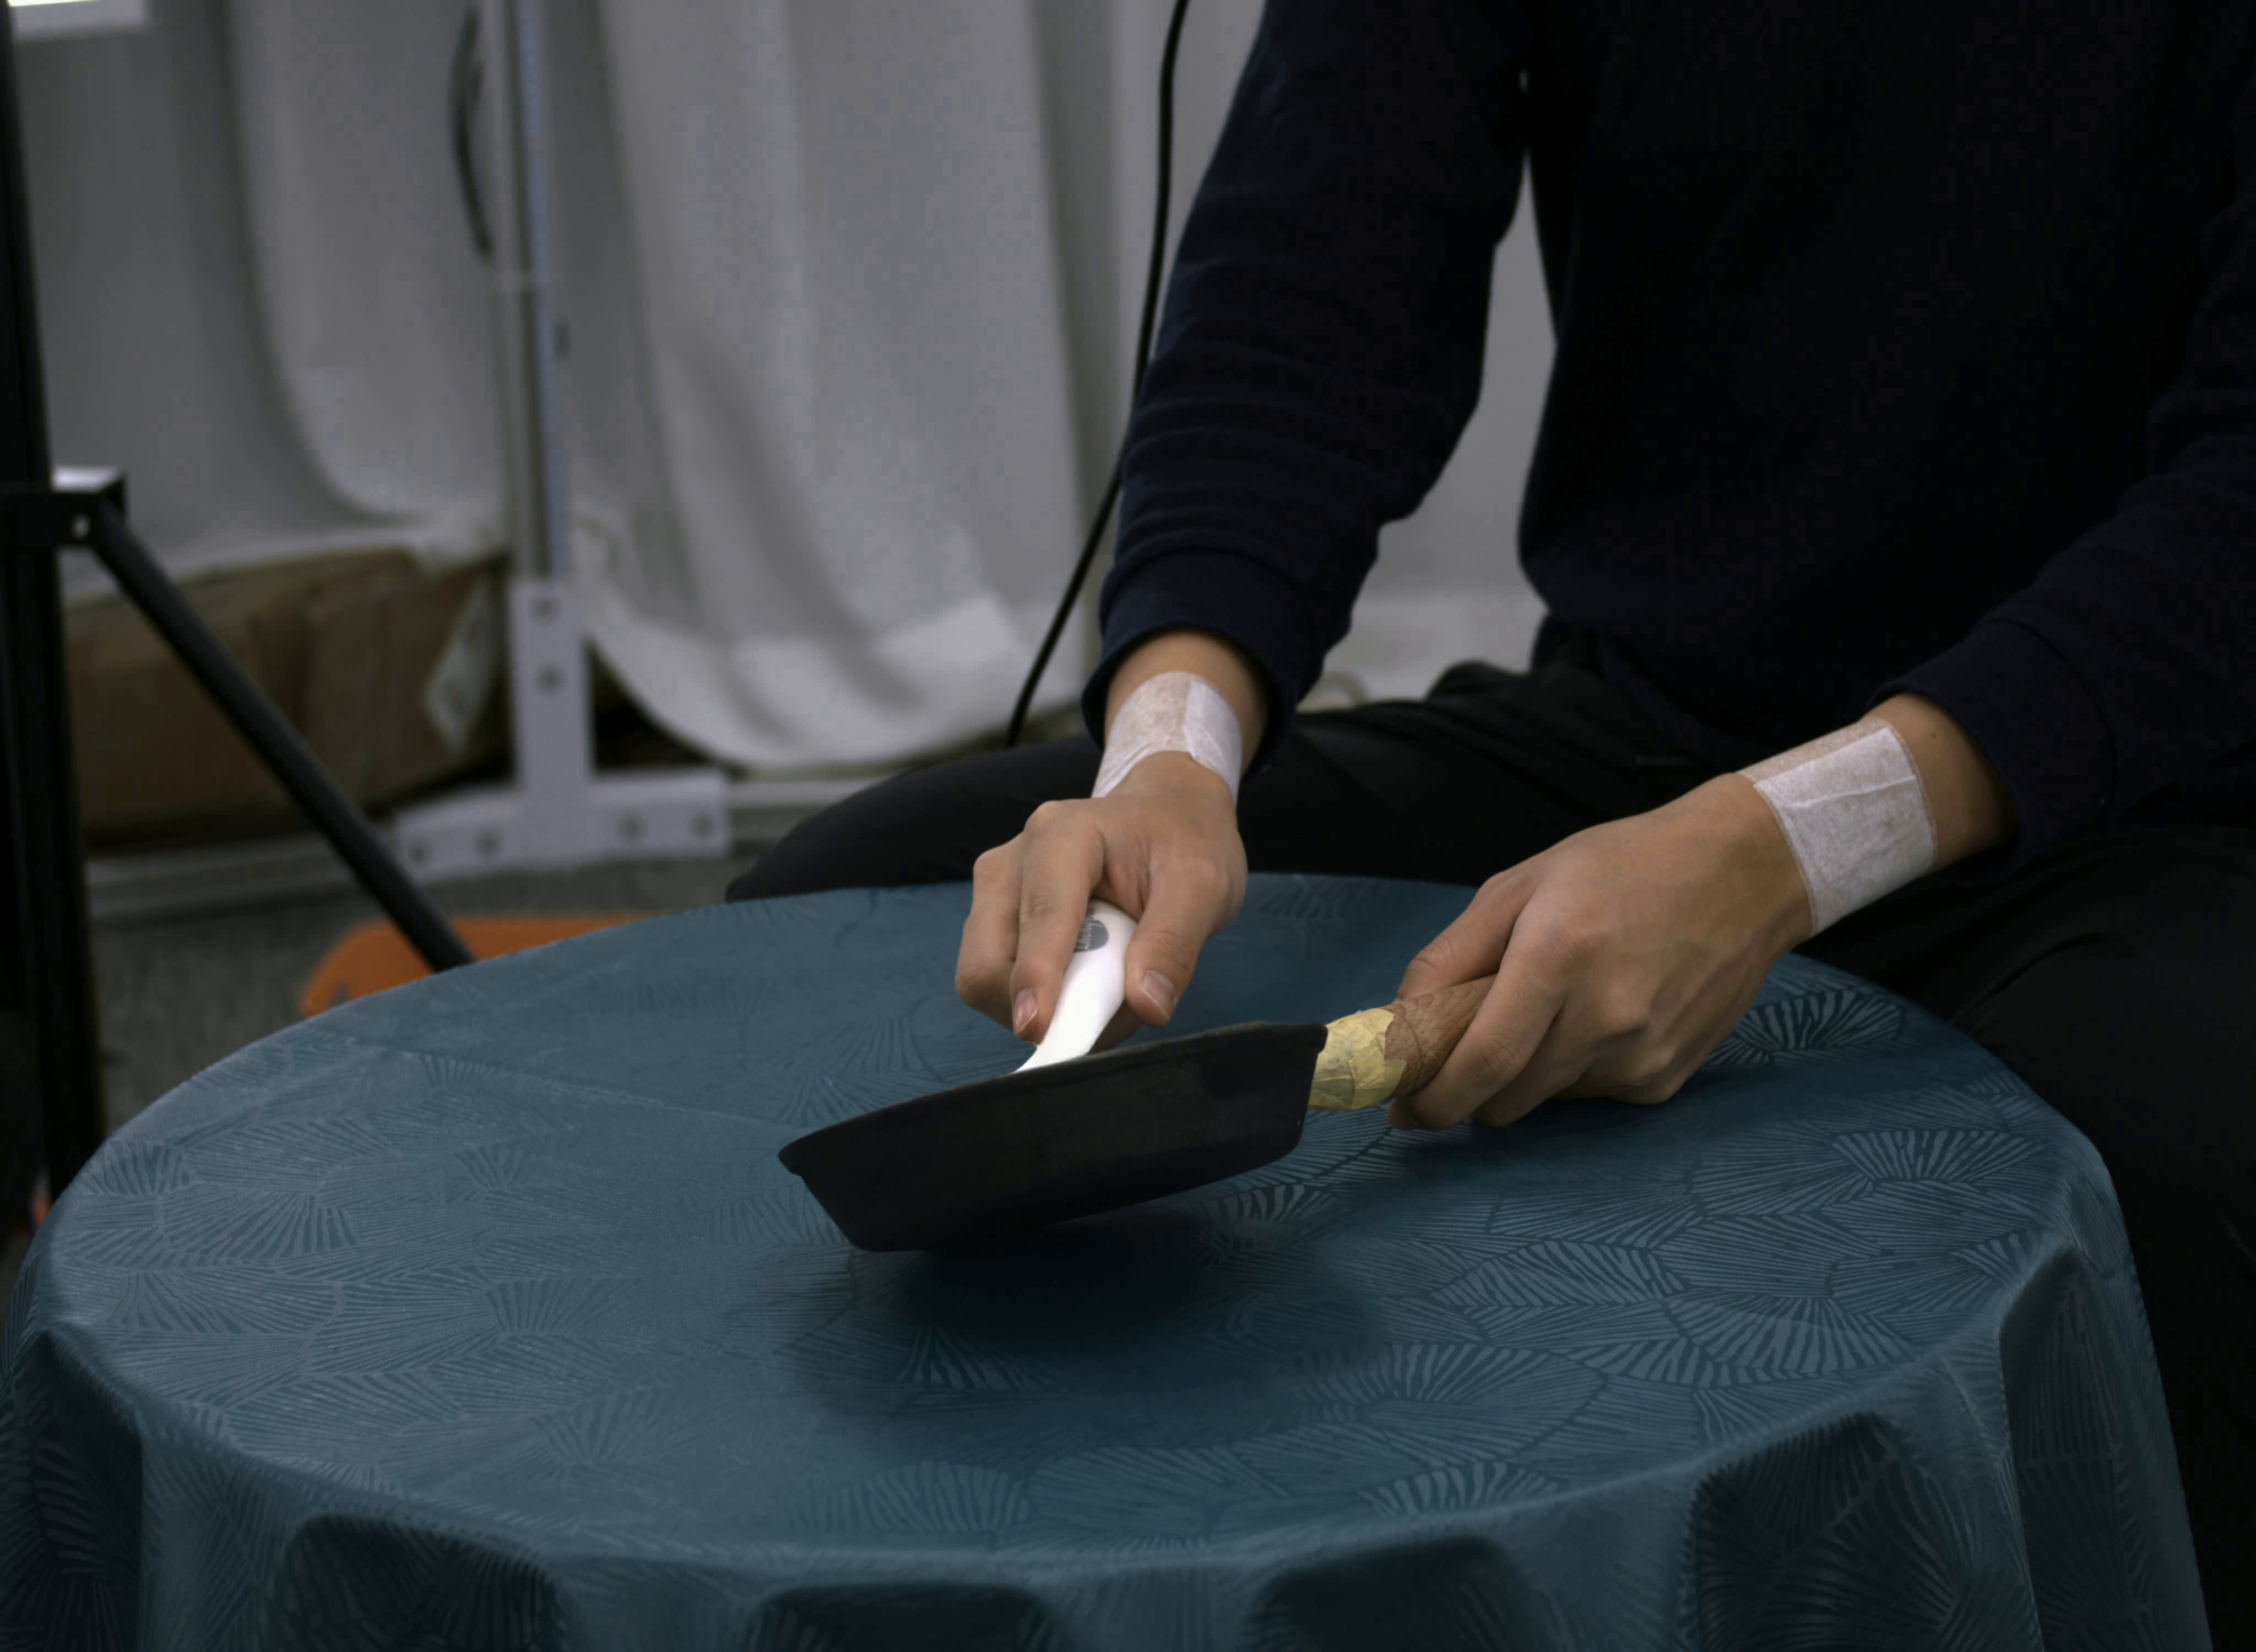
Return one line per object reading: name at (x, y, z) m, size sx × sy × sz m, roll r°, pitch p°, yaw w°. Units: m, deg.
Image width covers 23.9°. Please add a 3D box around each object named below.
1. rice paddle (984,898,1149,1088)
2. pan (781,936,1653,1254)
rice paddle at (-0.016, 0.064, 1.534) m, size 0.069 × 0.029 × 0.205 m, roll -11°, pitch 15°, yaw 8°
pan at (0.045, 0.074, 1.530) m, size 0.316 × 0.050 × 0.172 m, roll -8°, pitch -9°, yaw -39°
